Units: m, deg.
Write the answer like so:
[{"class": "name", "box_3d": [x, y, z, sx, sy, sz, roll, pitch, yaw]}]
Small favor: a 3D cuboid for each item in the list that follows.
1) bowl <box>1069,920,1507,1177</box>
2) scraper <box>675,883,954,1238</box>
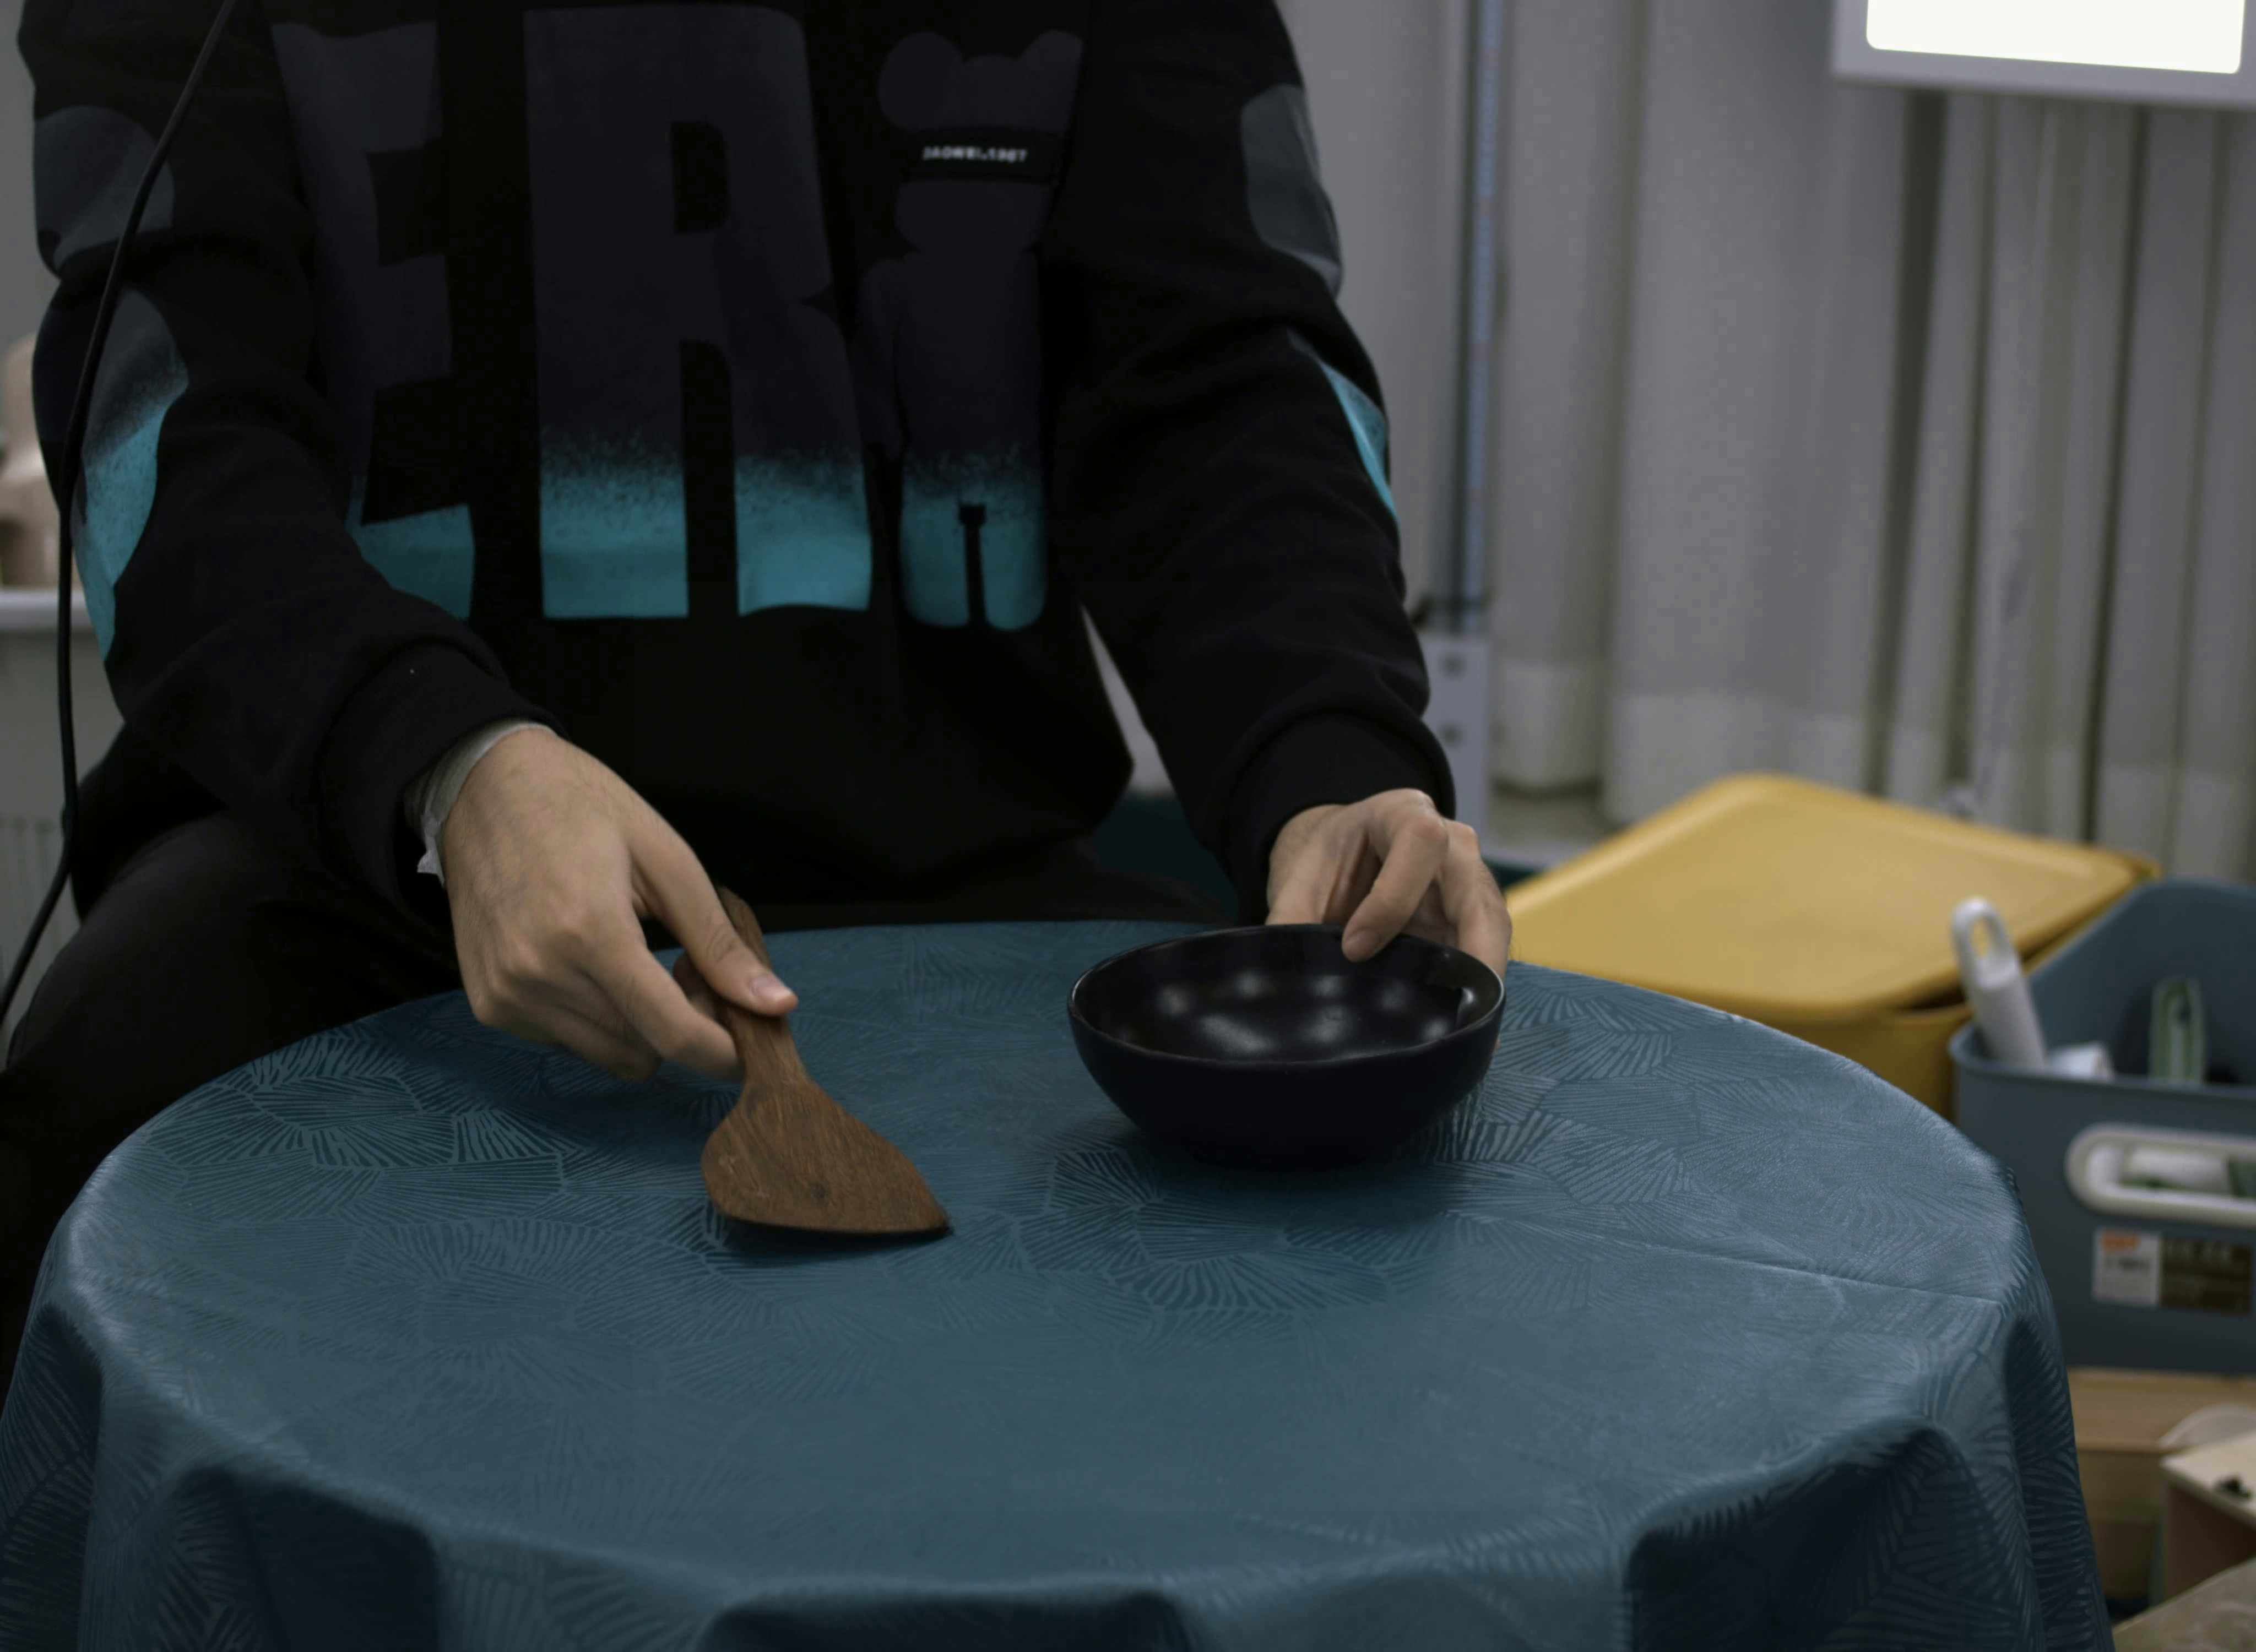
[{"class": "bowl", "box_3d": [0.052, 0.075, 1.667, 0.139, 0.050, 0.139, -3, 18, 2]}, {"class": "scraper", "box_3d": [-0.111, 0.072, 1.655, 0.076, 0.011, 0.209, 6, 28, -20]}]
